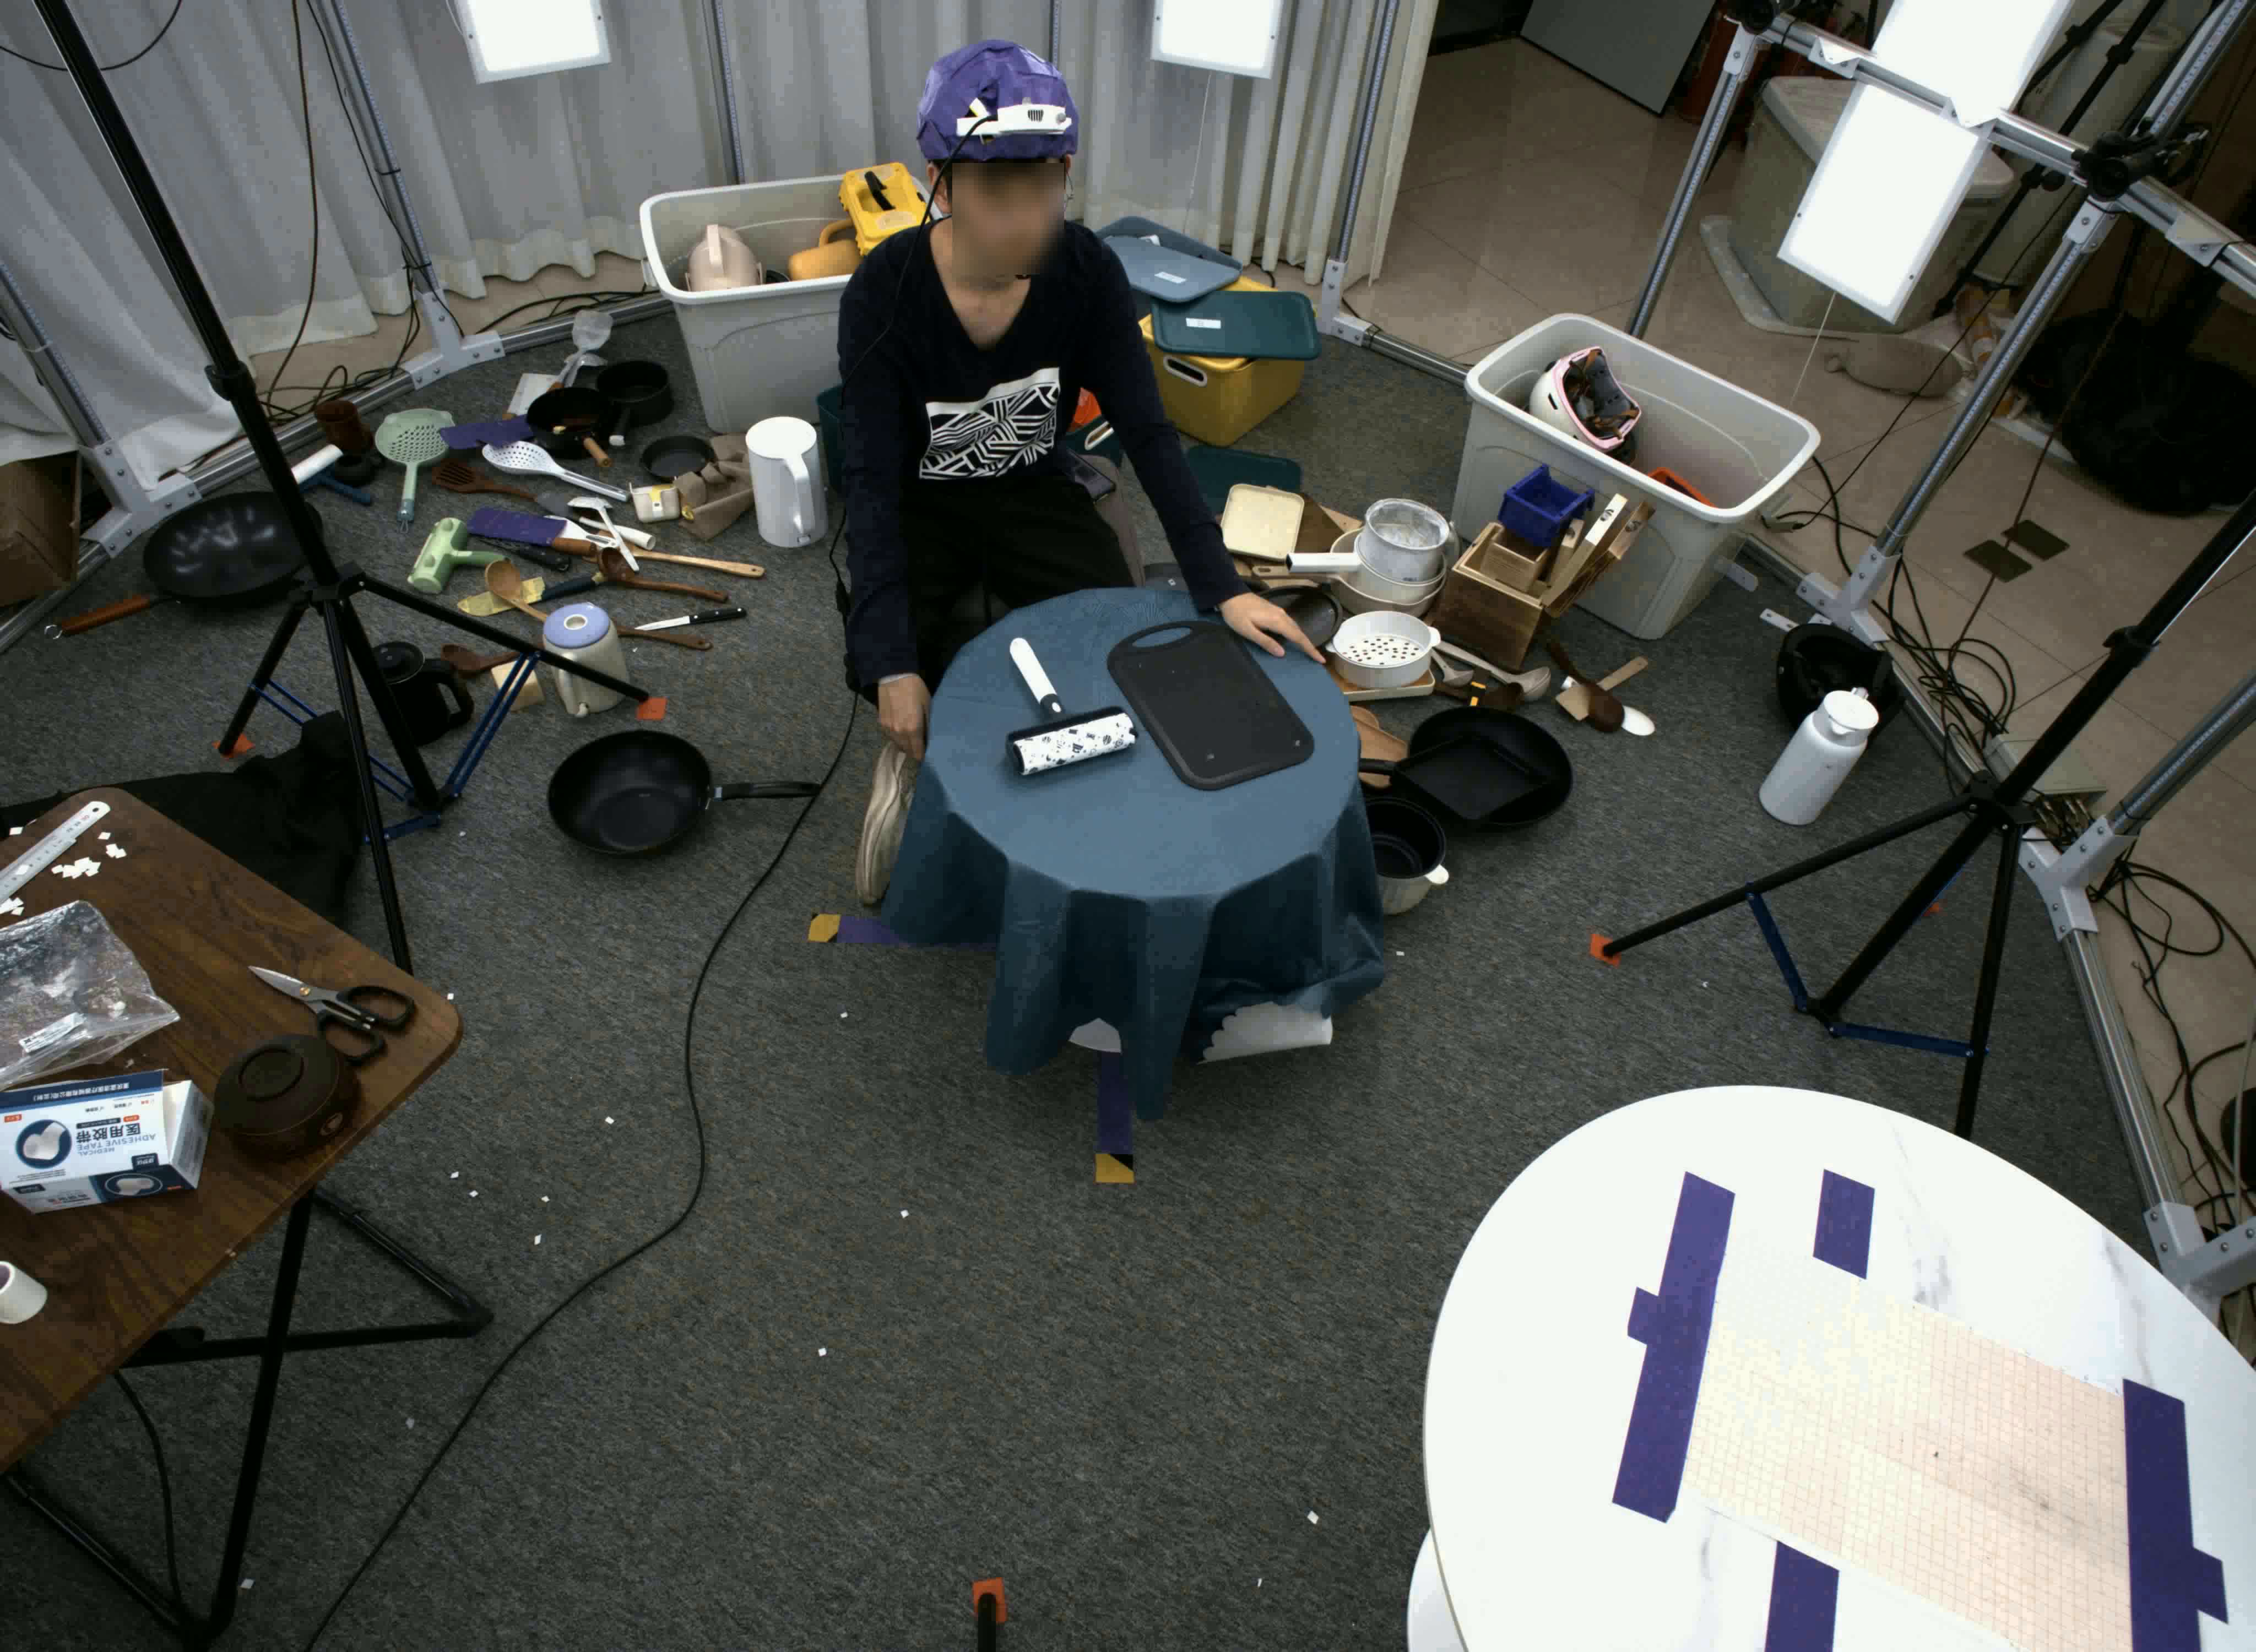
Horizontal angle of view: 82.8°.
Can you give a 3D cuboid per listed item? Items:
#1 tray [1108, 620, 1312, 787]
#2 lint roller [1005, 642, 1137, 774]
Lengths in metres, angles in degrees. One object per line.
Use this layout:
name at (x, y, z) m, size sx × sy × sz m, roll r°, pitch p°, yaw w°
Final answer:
tray at (0.109, -0.186, 1.832) m, size 0.211 × 0.009 × 0.333 m, roll -17°, pitch 52°, yaw -18°
lint roller at (-0.114, -0.182, 1.791) m, size 0.176 × 0.049 × 0.253 m, roll -17°, pitch 50°, yaw -17°
